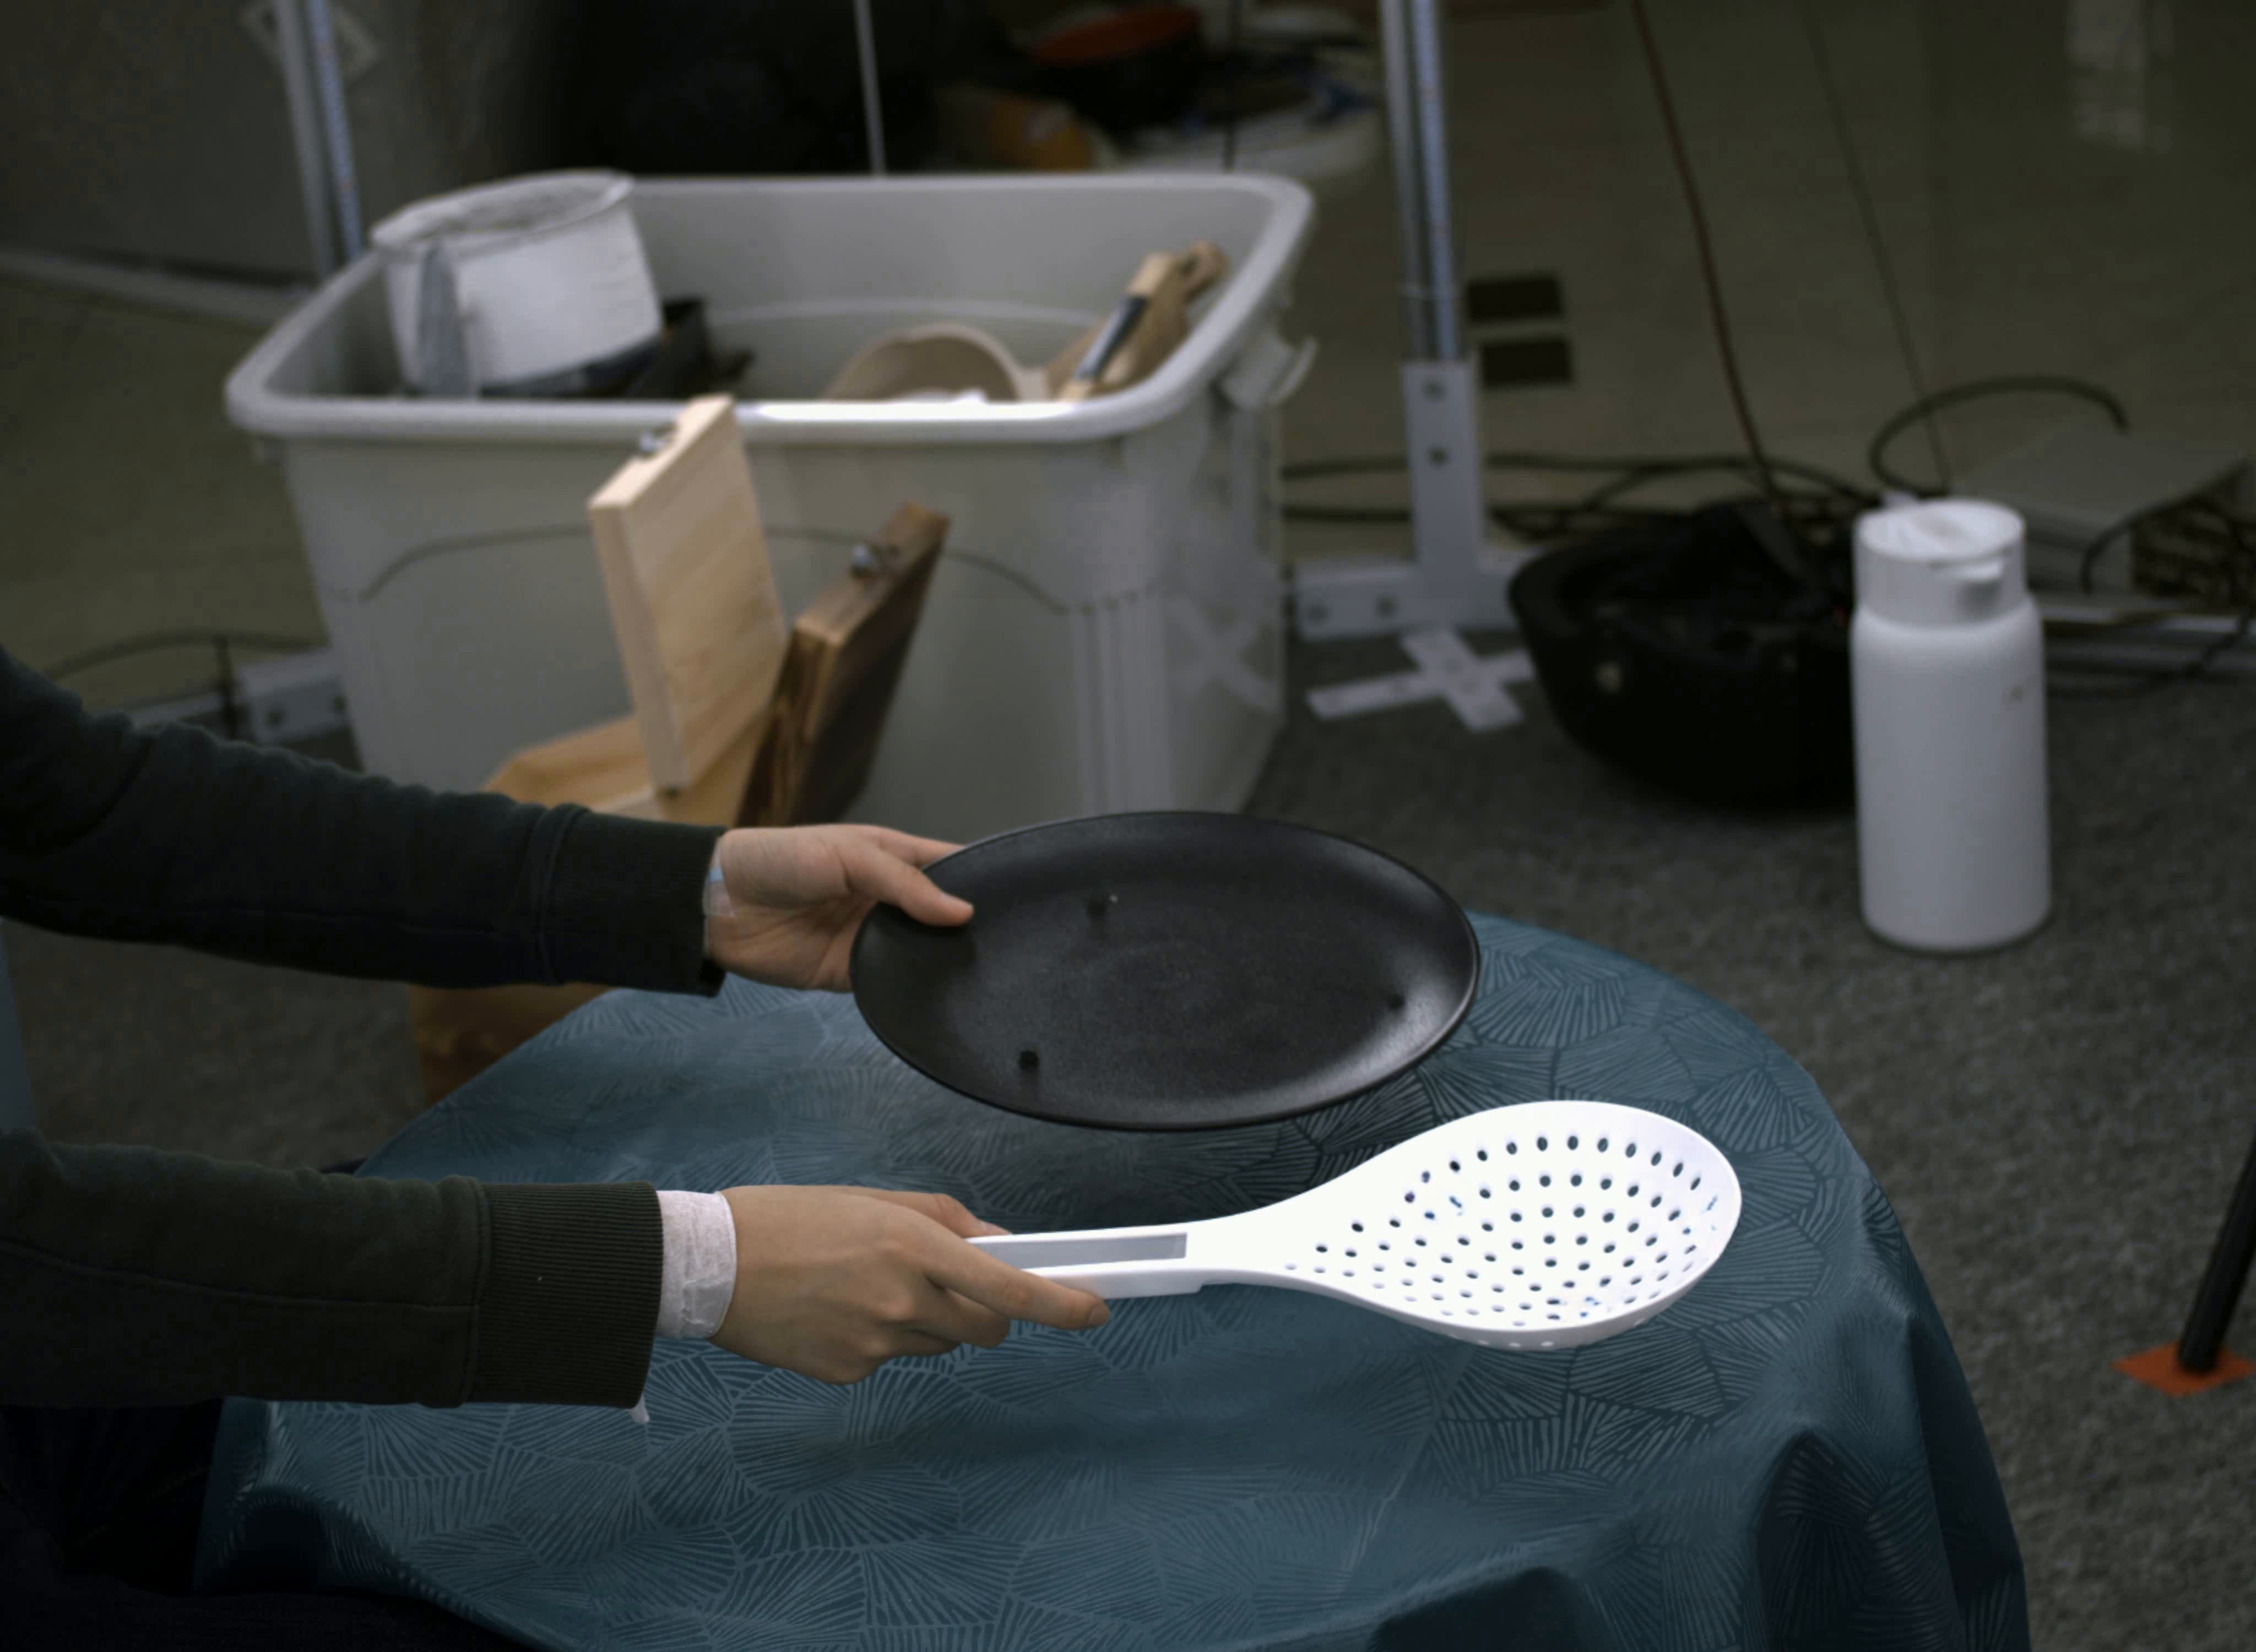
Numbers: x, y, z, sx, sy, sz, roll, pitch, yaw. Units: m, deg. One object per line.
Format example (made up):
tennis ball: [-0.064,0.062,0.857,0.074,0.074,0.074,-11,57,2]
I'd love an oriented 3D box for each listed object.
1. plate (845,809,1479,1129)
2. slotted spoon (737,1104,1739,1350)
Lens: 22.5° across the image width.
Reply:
plate: [0.013,0.059,2.175,0.244,0.024,0.240,0,29,0]
slotted spoon: [0.036,0.149,1.973,0.349,0.046,0.134,-1,31,4]
